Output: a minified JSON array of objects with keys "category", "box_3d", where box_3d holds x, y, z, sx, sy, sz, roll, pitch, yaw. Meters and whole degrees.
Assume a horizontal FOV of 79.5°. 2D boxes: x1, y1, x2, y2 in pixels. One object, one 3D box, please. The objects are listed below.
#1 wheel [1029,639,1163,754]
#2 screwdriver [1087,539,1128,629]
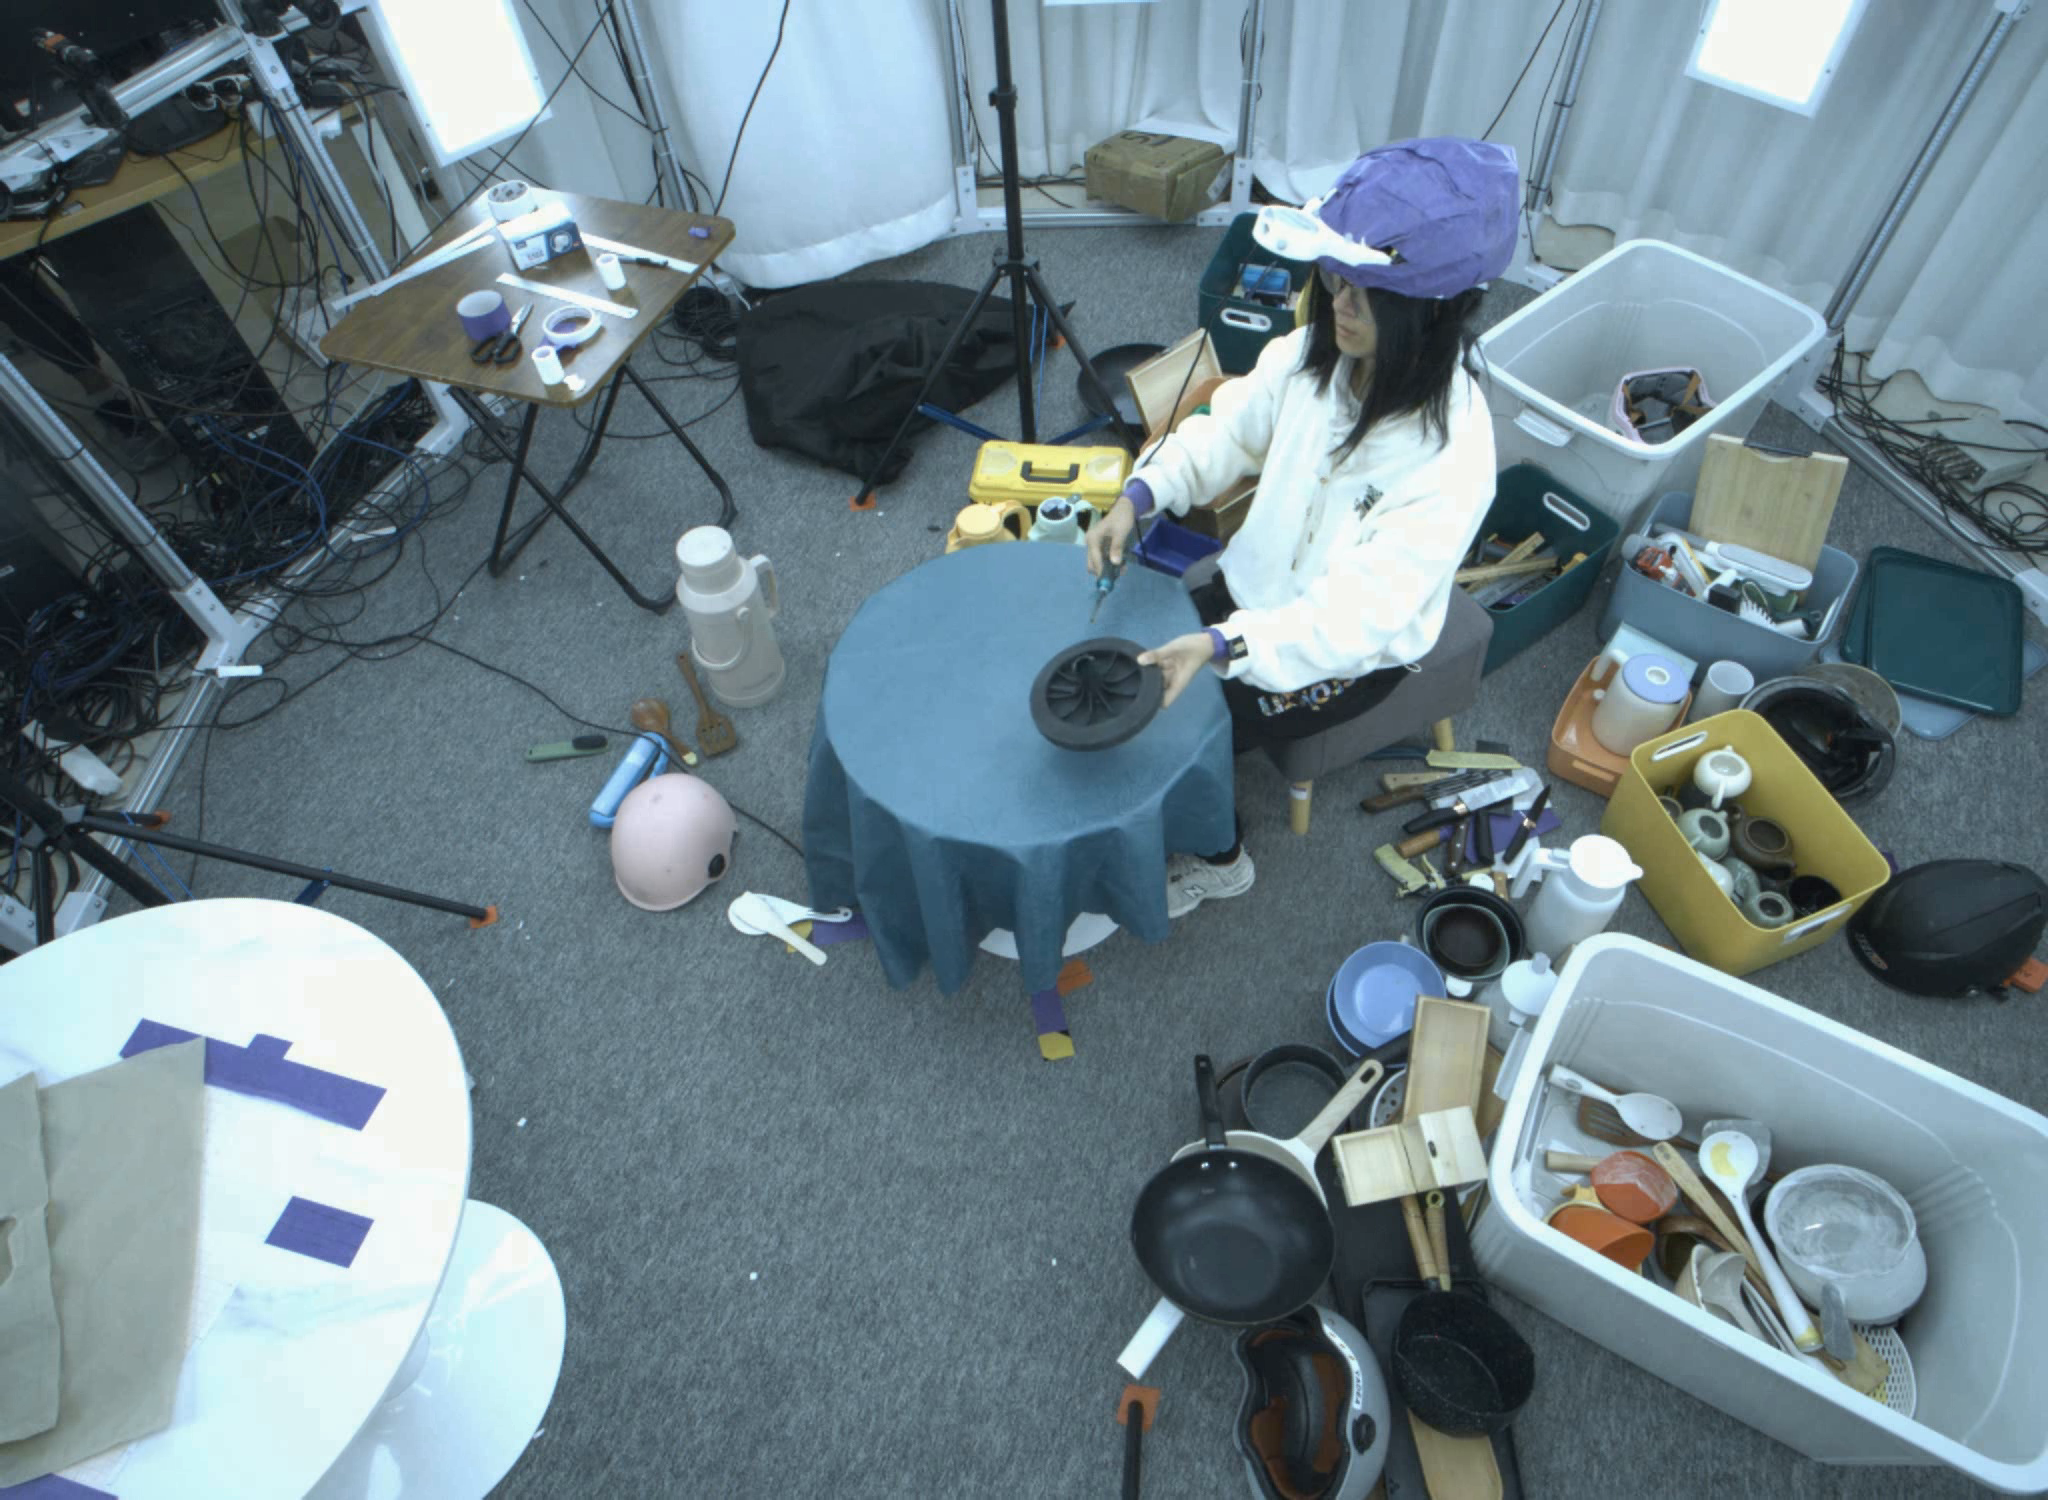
[{"category":"wheel","box_3d":[0.091,-0.088,1.678,0.188,0.080,0.185,-13,52,13]},{"category":"screwdriver","box_3d":[0.118,-0.240,1.787,0.033,0.034,0.189,11,50,11]}]
